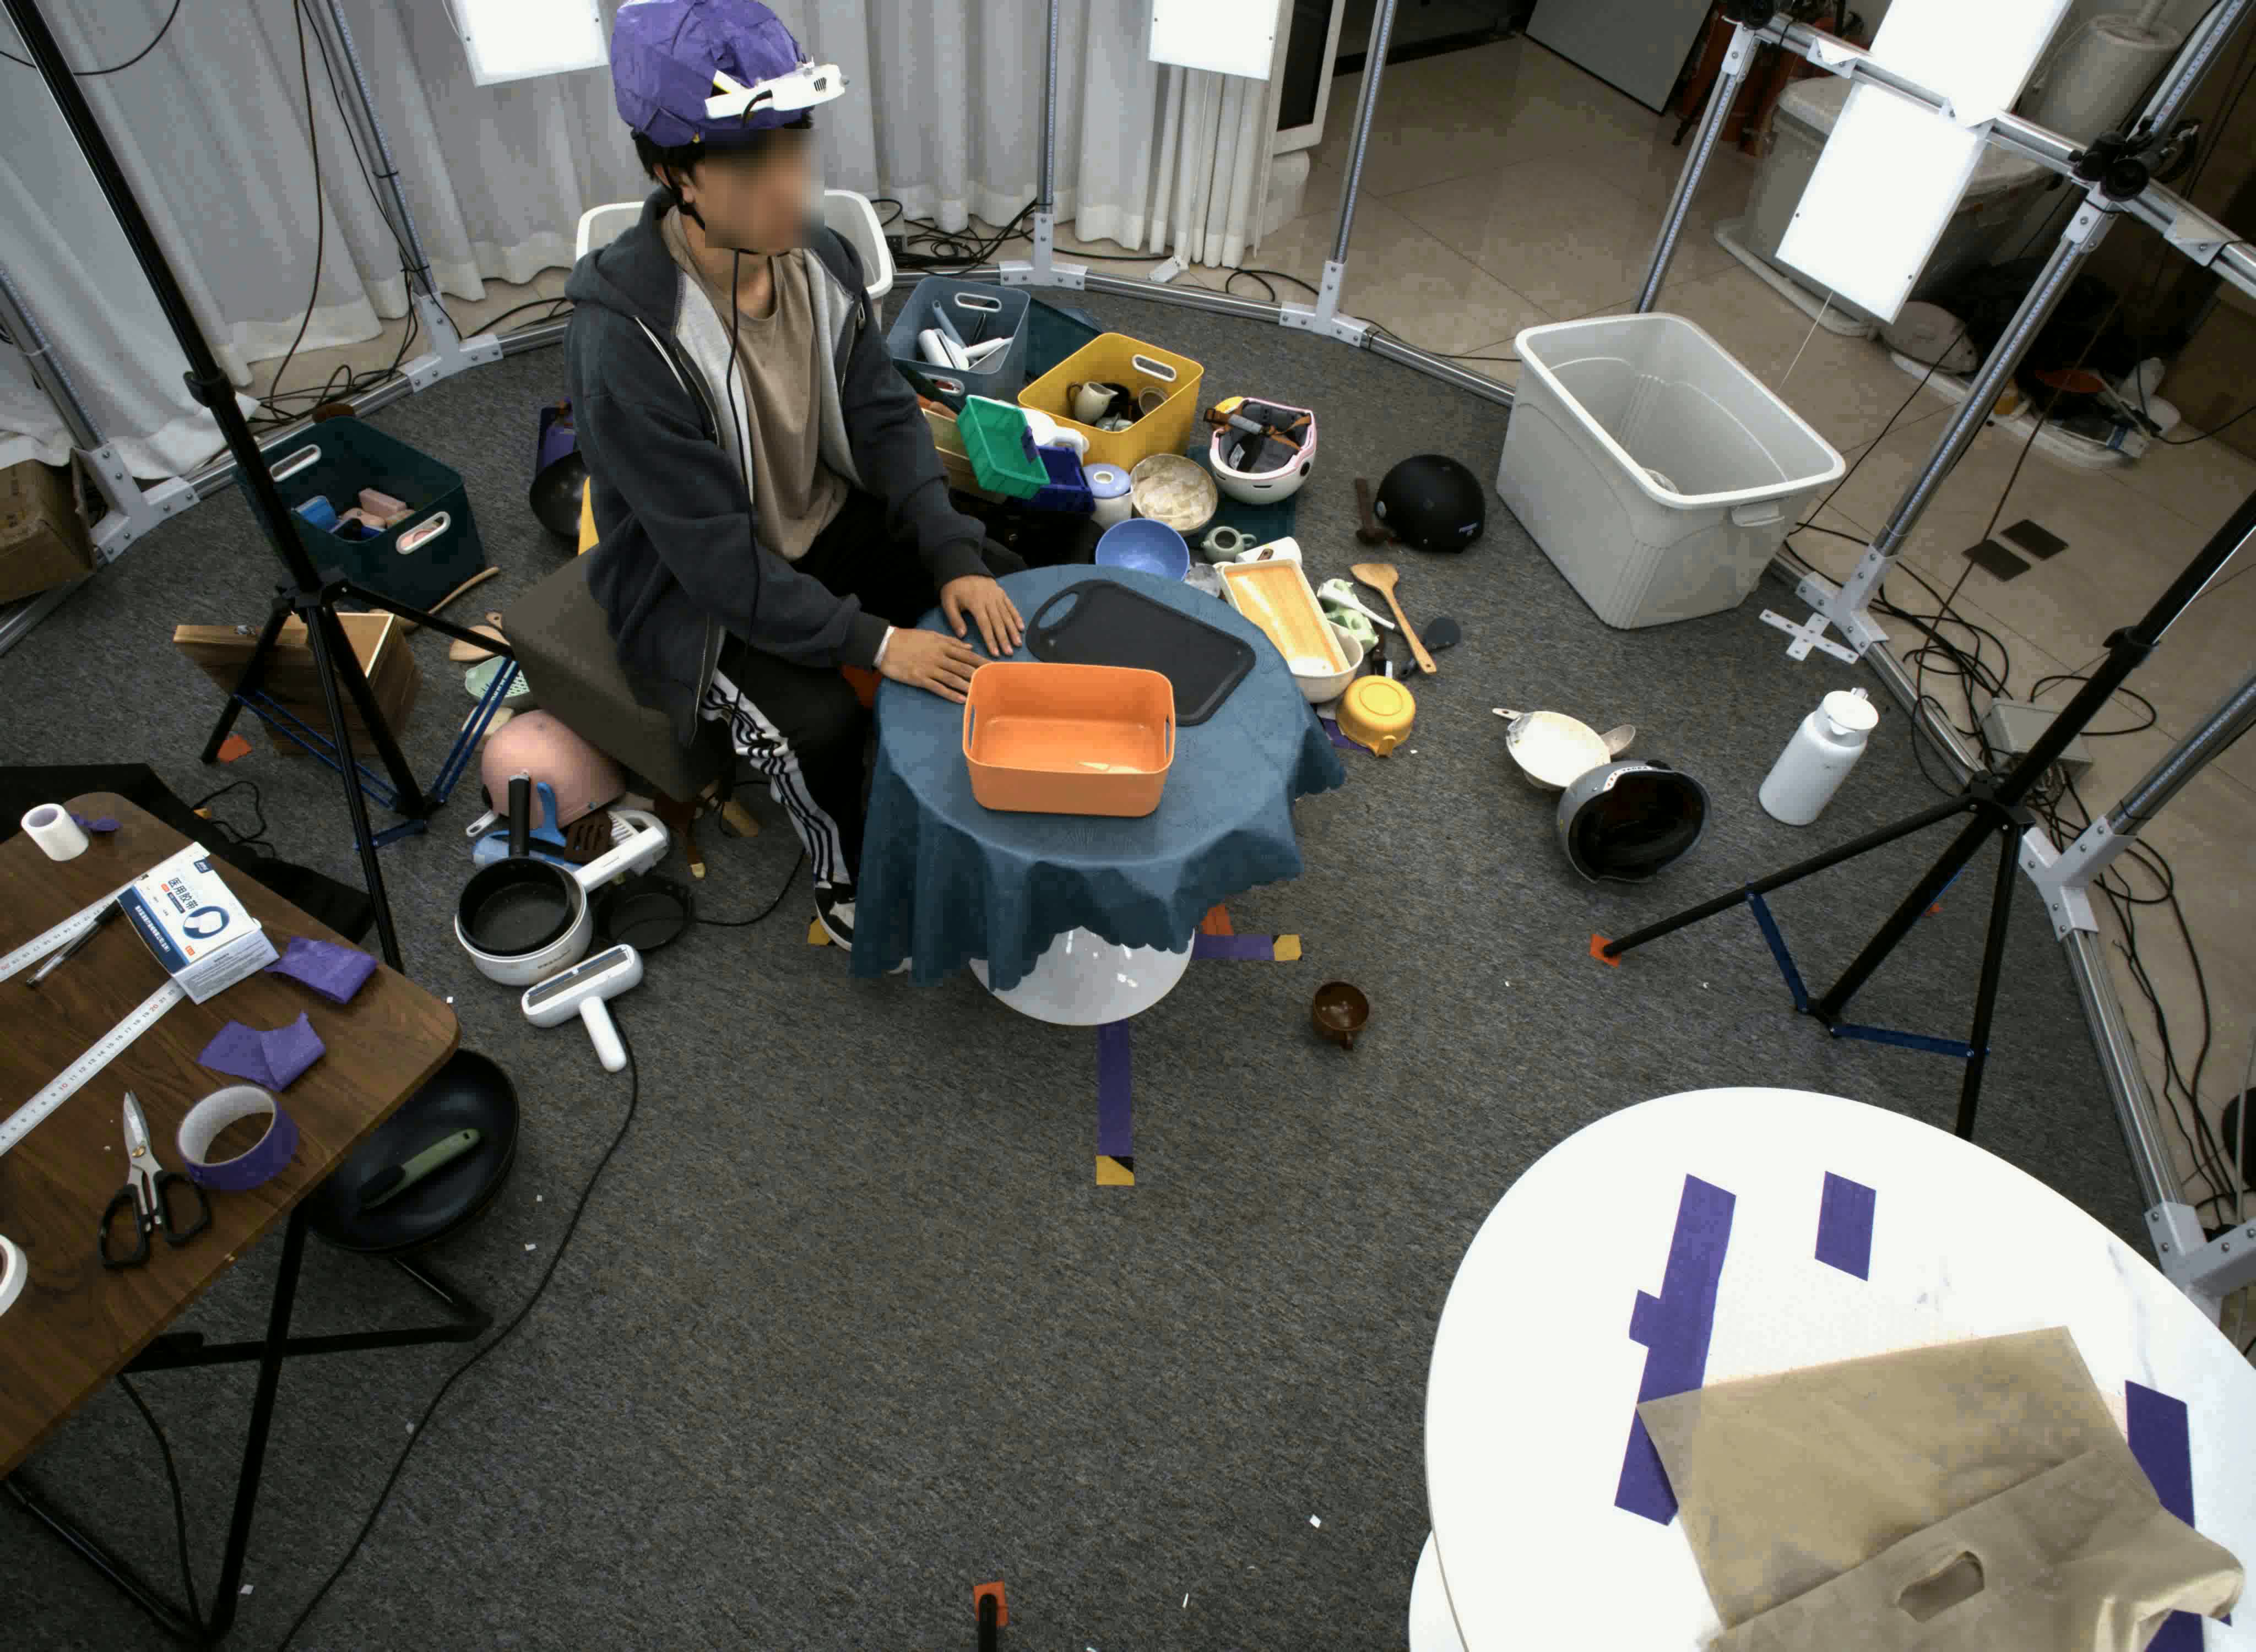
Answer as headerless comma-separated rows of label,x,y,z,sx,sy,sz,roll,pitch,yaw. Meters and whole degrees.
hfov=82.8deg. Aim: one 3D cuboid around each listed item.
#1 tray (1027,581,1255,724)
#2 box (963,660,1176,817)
tray,0.012,-0.264,1.893,0.328,0.009,0.214,27,52,19
box,-0.077,-0.112,1.691,0.273,0.100,0.204,3,49,-2
